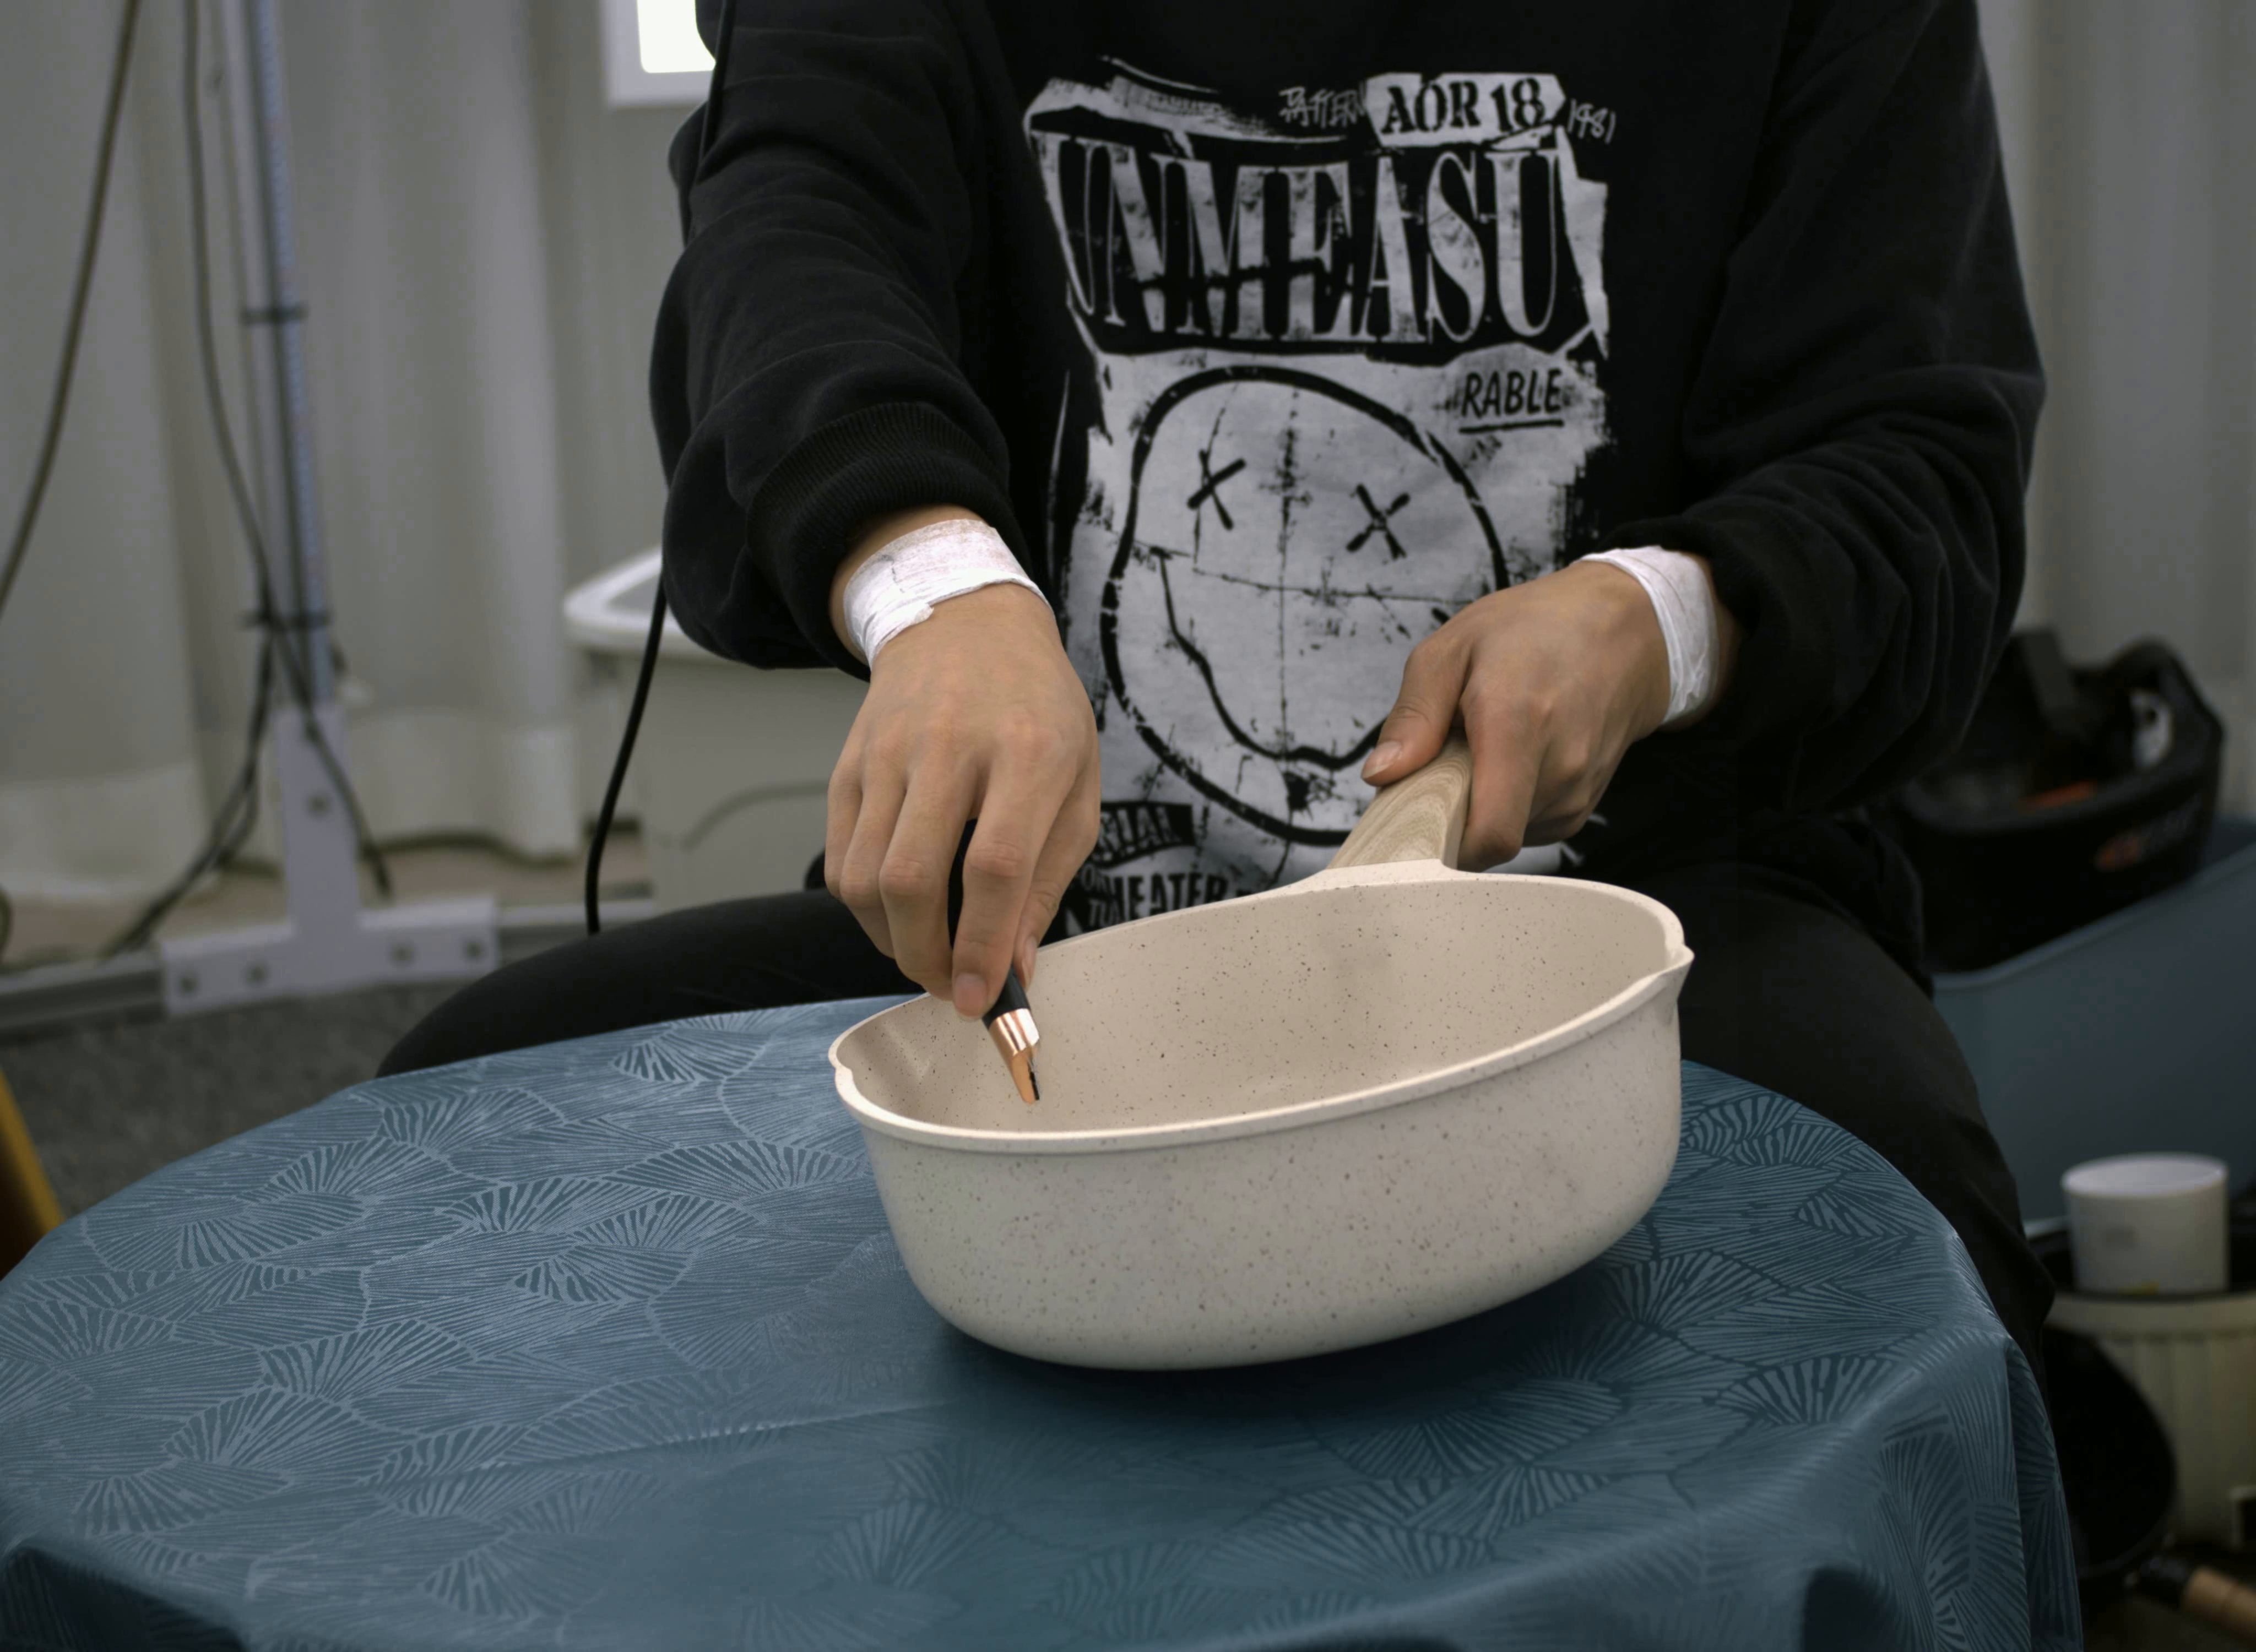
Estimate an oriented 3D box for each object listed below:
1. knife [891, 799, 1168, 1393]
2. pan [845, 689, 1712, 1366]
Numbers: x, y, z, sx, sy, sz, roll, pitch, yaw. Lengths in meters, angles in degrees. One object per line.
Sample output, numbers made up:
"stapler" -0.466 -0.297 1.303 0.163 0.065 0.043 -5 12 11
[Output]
"knife" -0.028 0.075 1.599 0.017 0.026 0.229 -6 46 -23
"pan" 0.074 0.057 1.684 0.263 0.101 0.436 -8 12 19
